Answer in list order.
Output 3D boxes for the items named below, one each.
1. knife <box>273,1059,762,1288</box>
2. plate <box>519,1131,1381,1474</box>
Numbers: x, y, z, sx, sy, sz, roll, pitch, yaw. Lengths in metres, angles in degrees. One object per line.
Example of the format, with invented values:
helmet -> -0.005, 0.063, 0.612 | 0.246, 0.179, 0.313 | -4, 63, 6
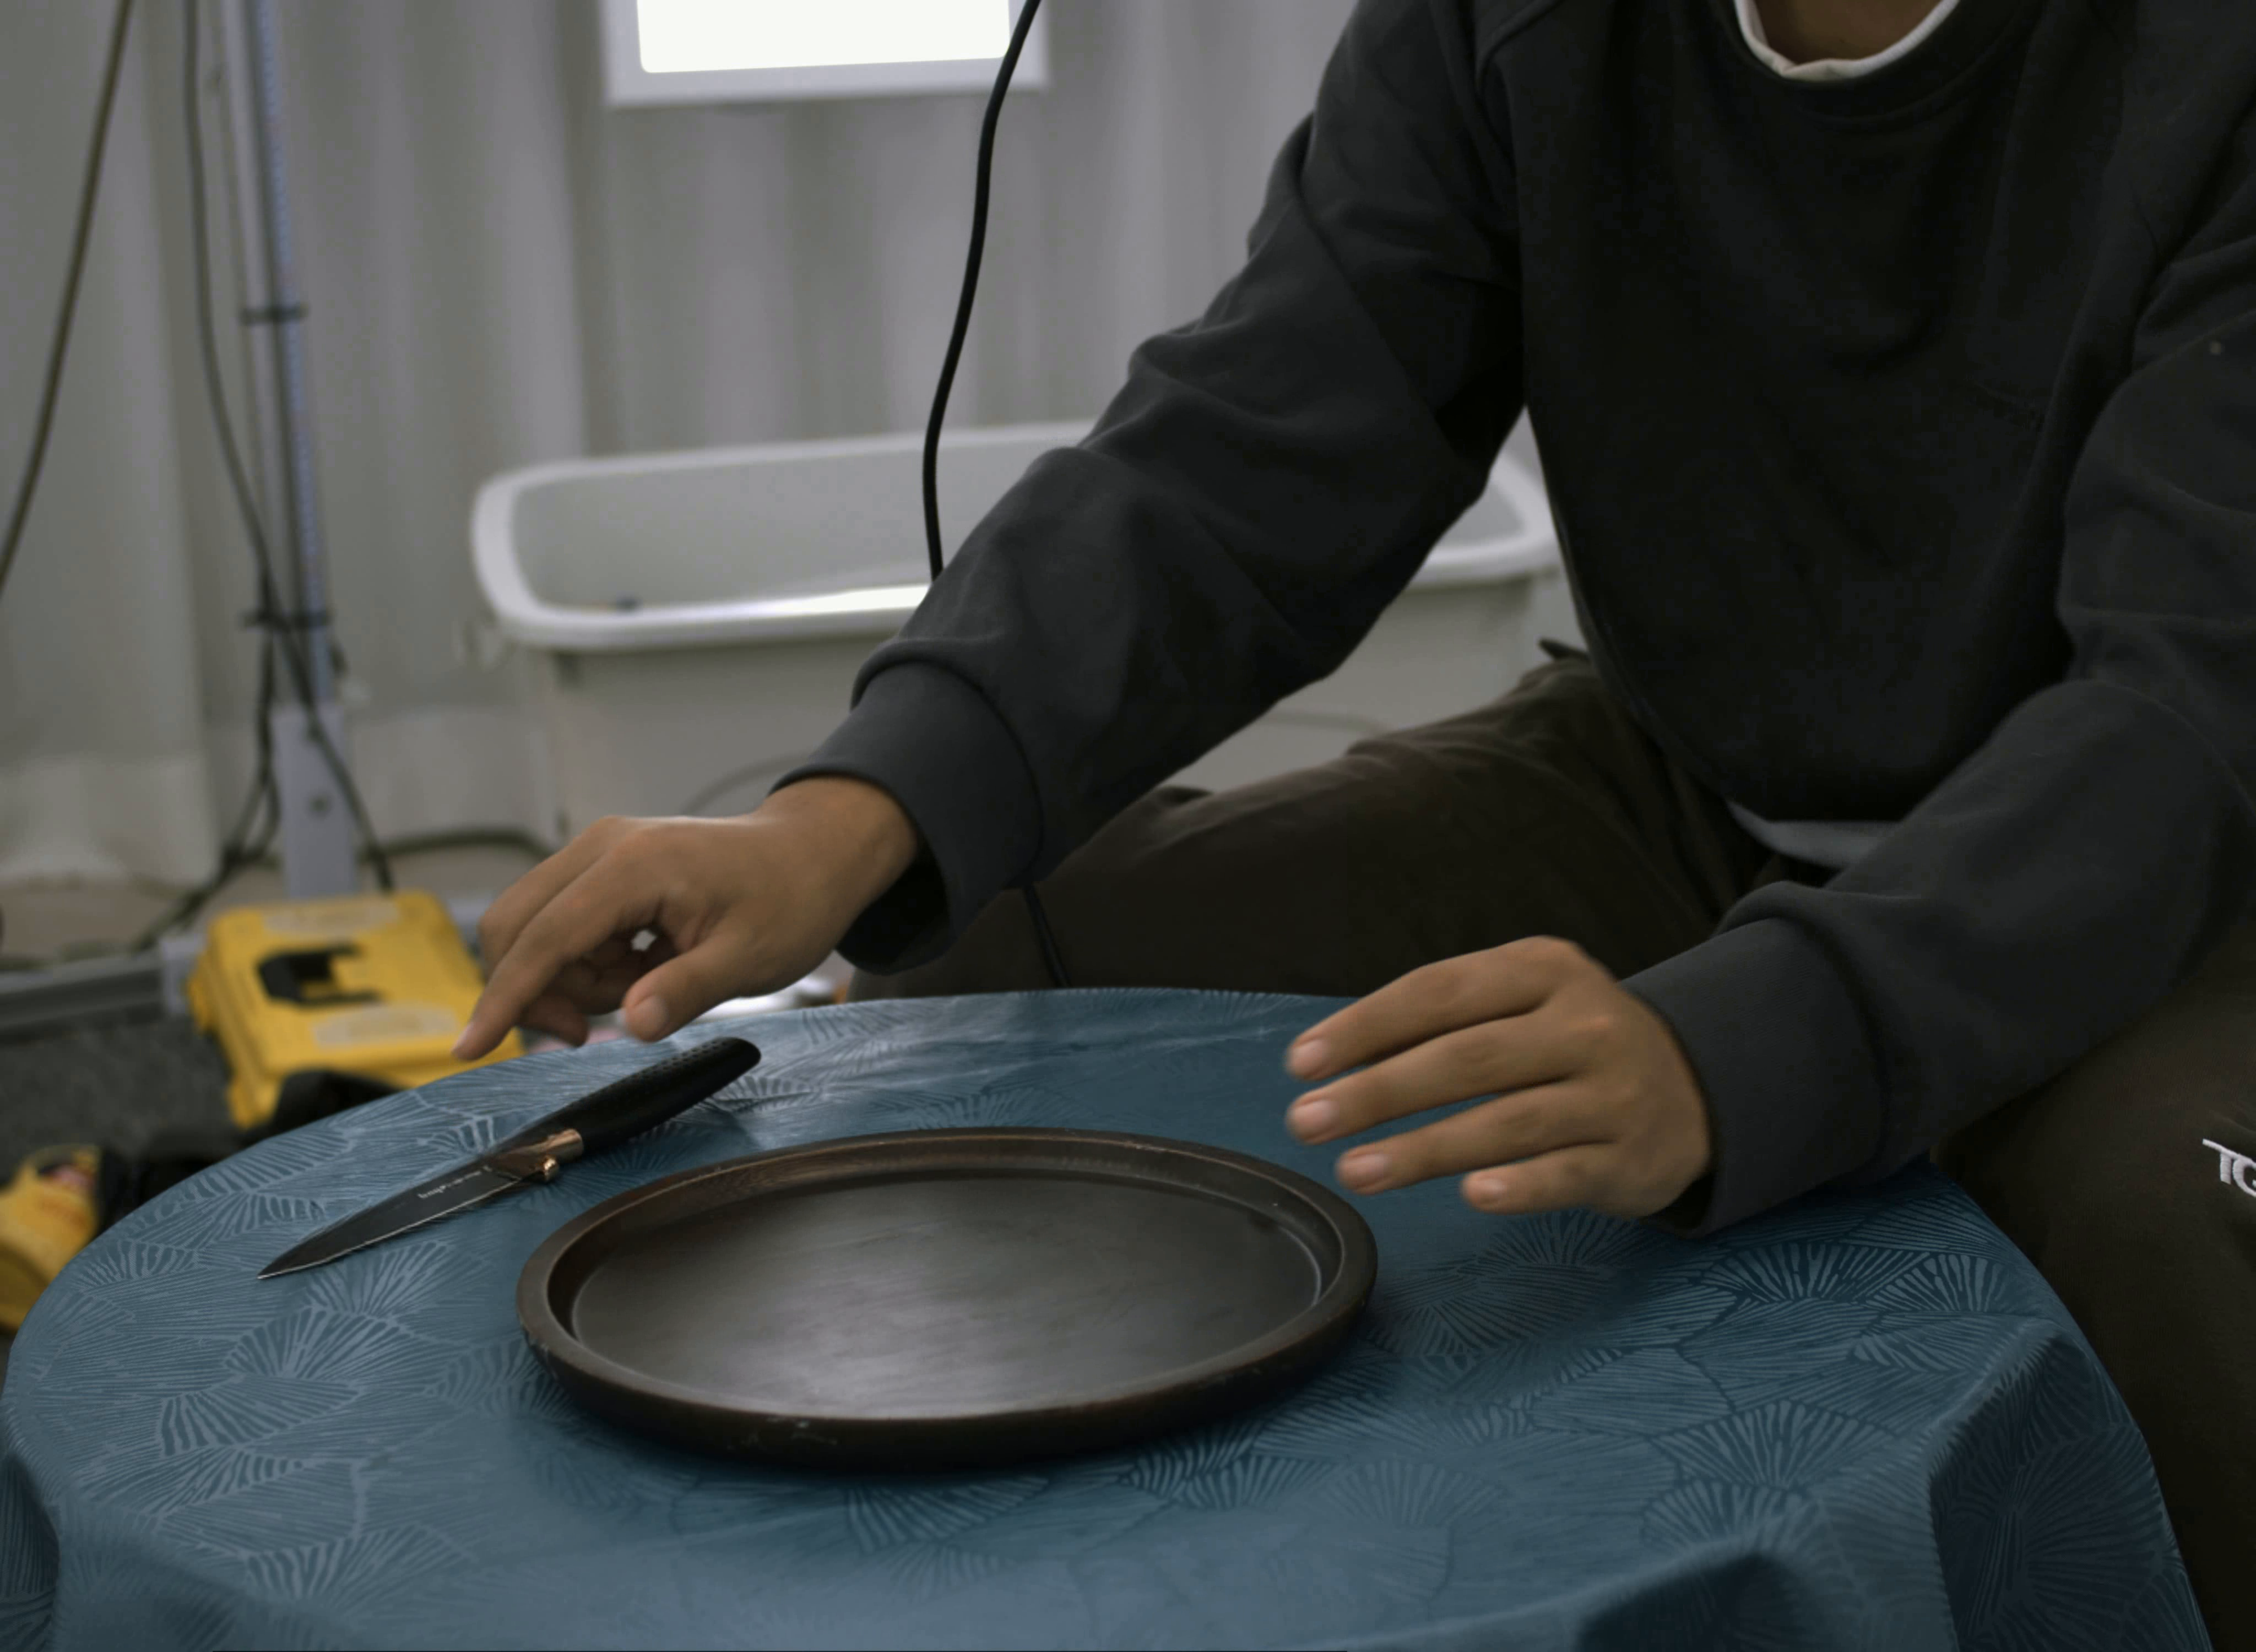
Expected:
knife -> -0.194, 0.111, 1.747 | 0.026, 0.017, 0.225 | 15, 23, 35
plate -> -0.051, 0.137, 1.599 | 0.254, 0.029, 0.256 | -3, 13, 0
